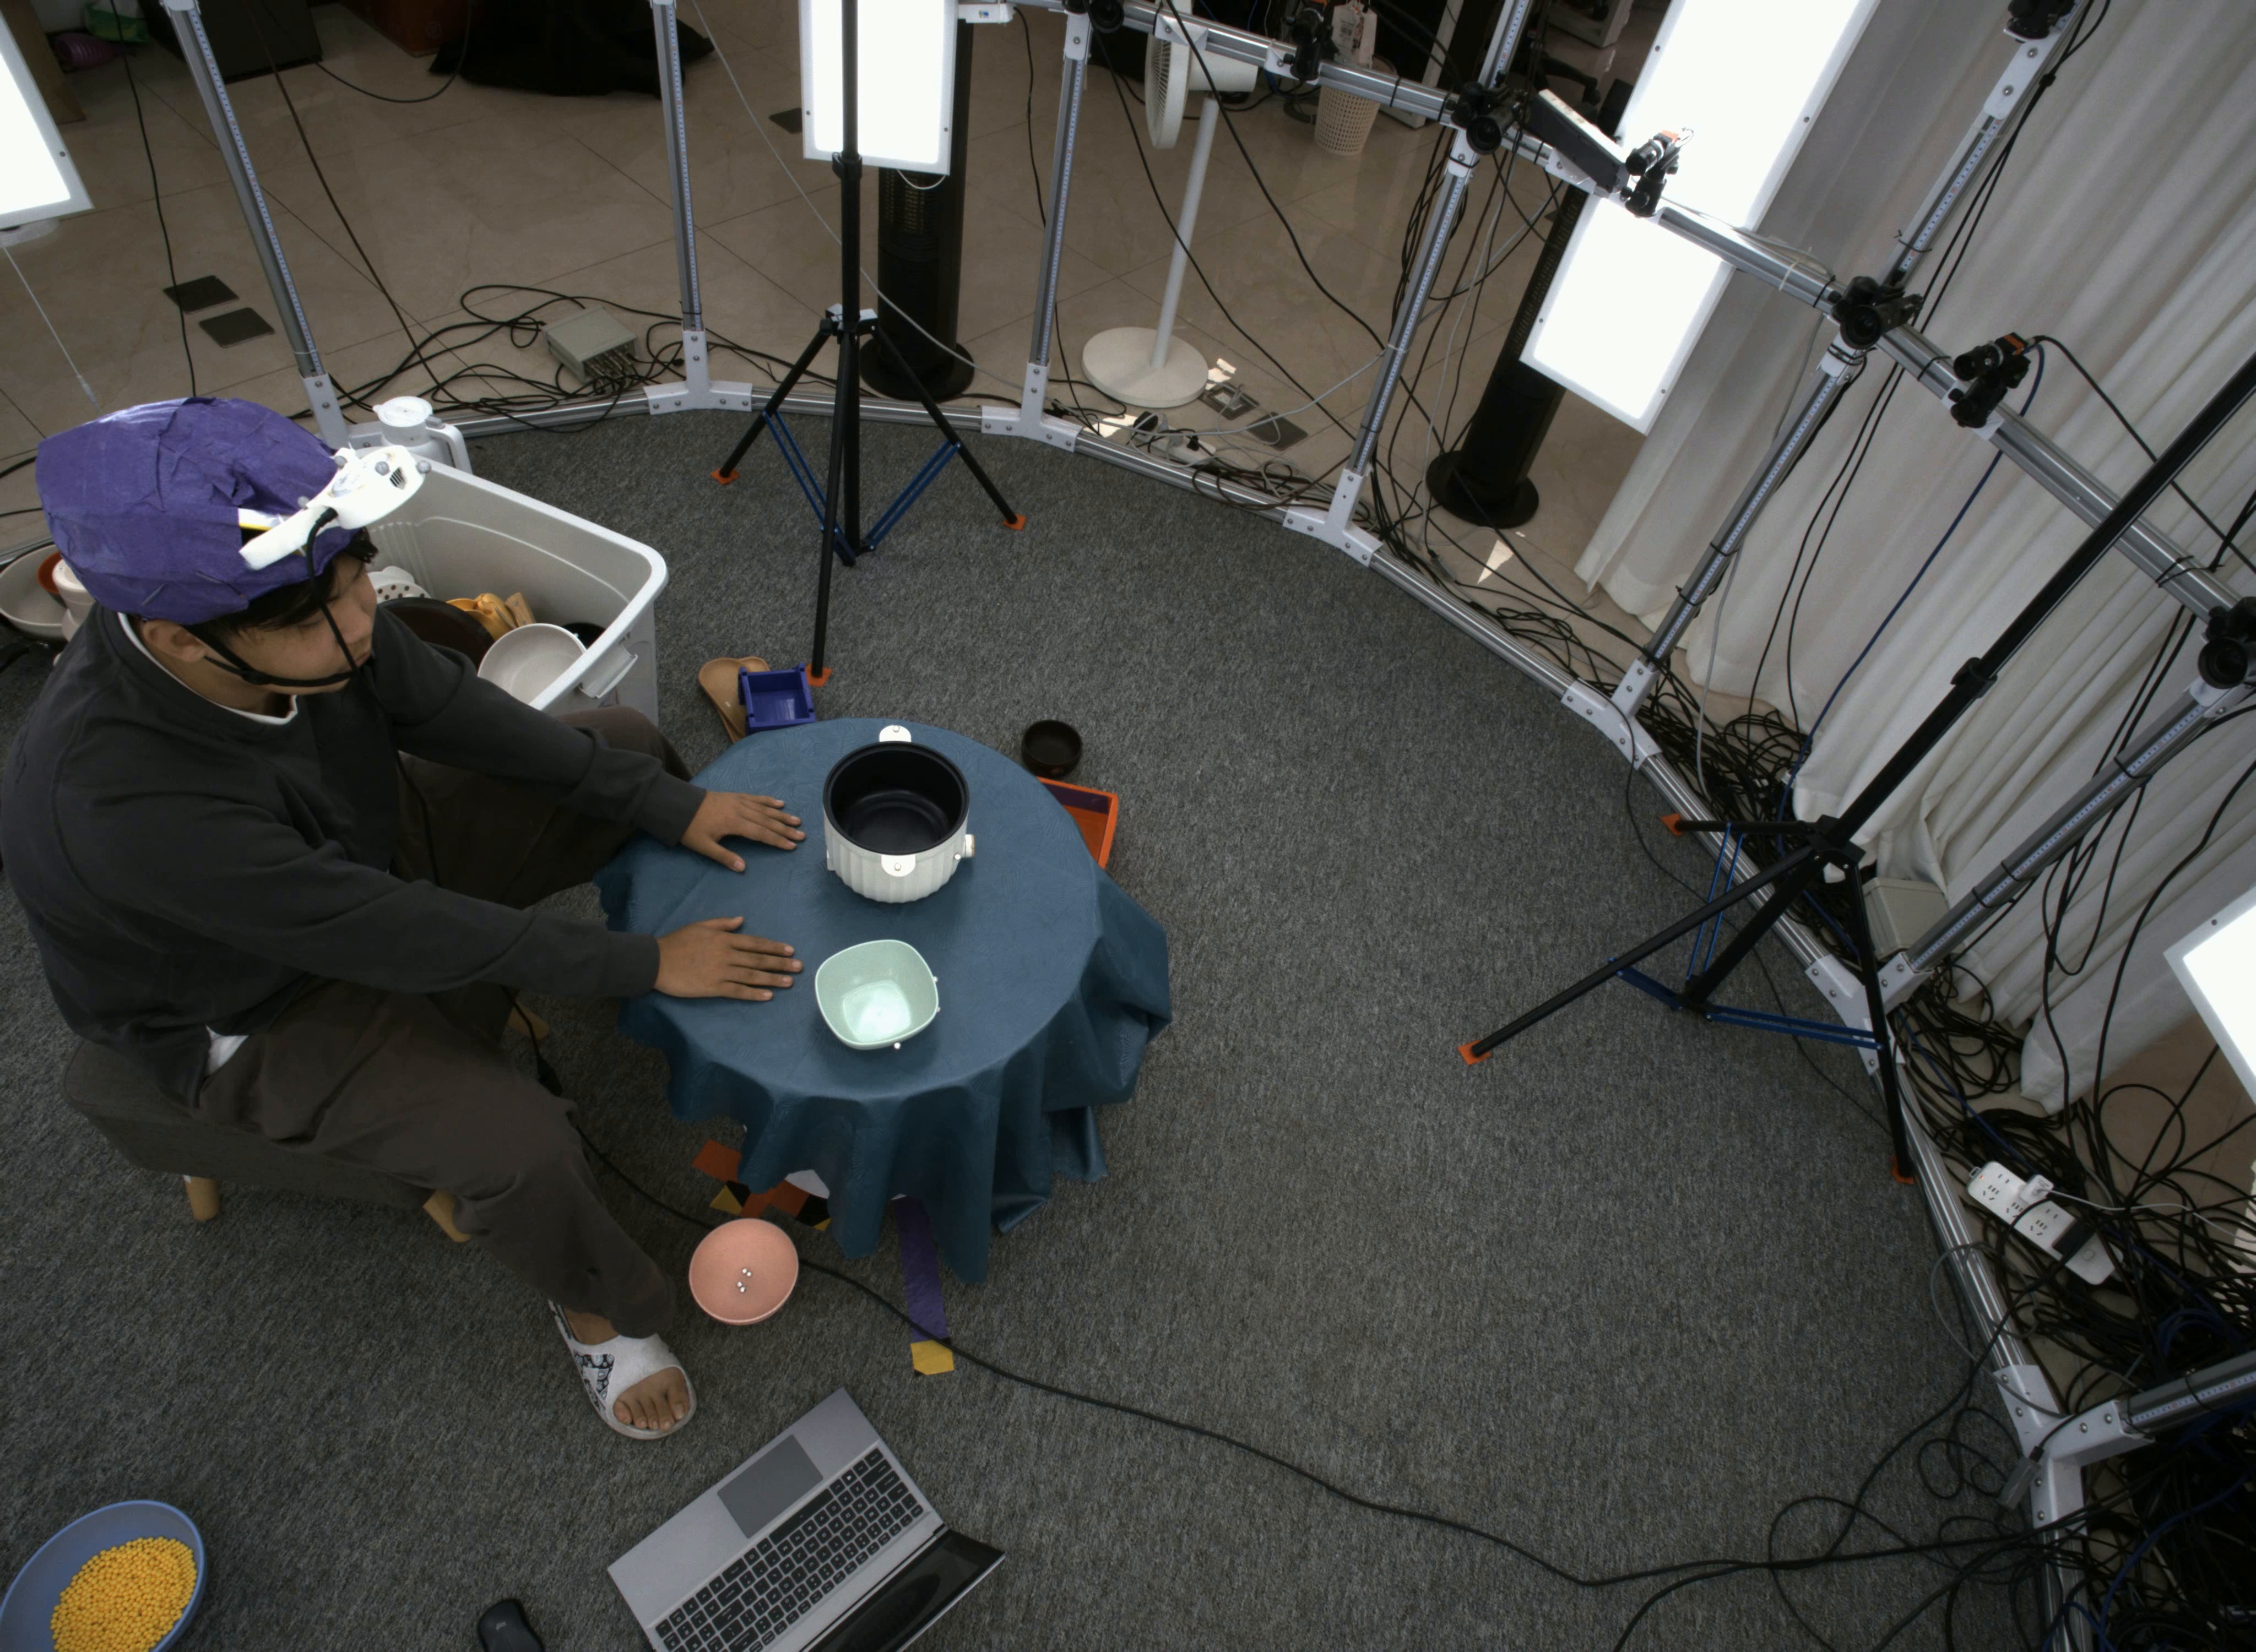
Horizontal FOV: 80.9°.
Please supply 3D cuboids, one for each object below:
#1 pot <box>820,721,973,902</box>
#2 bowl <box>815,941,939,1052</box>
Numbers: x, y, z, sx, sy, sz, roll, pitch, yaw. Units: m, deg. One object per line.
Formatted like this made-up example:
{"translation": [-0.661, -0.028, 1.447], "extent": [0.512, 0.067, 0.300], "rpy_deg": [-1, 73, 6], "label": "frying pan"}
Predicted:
{"translation": [-0.294, -0.003, 1.664], "extent": [0.190, 0.146, 0.235], "rpy_deg": [-3, 56, -11], "label": "pot"}
{"translation": [-0.301, 0.212, 1.556], "extent": [0.151, 0.060, 0.149], "rpy_deg": [9, 51, -9], "label": "bowl"}
